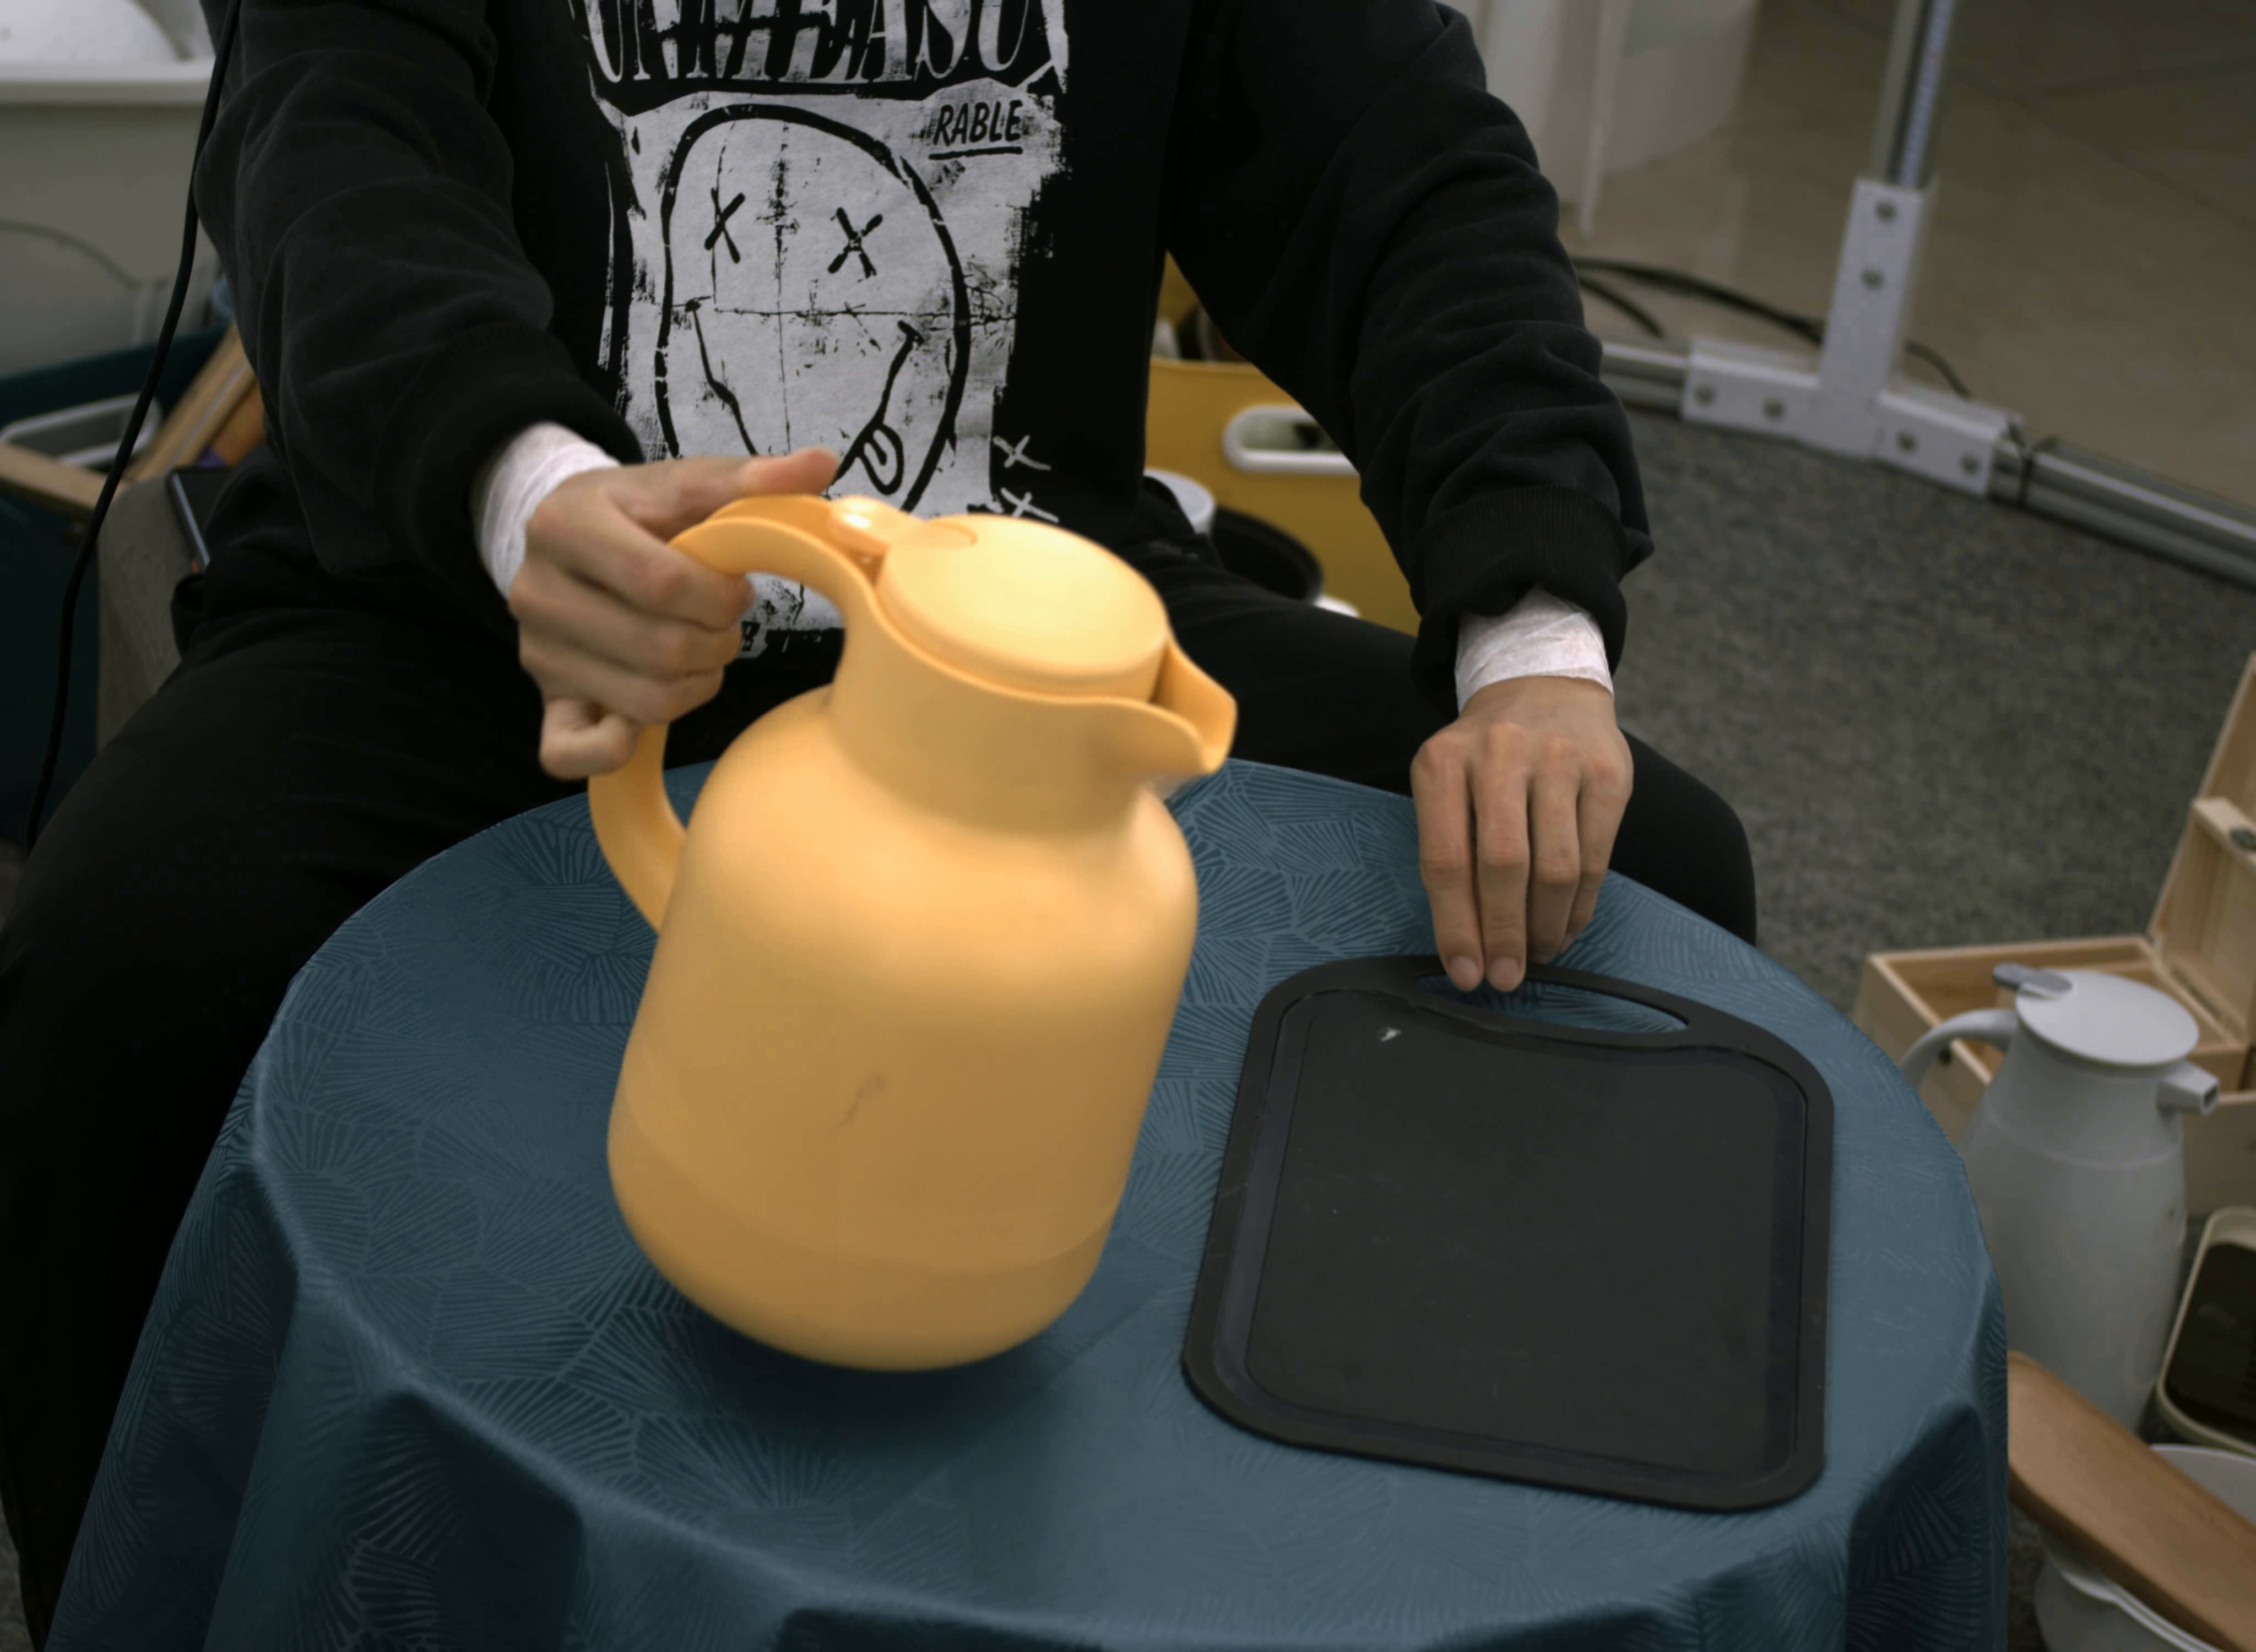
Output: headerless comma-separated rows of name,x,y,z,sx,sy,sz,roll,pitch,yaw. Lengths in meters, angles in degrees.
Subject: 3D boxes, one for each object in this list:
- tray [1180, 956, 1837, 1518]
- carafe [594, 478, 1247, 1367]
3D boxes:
tray,0.135,0.128,1.810,0.211,0.010,0.327,9,29,4
carafe,-0.077,0.019,1.646,0.203,0.260,0.163,28,29,17
